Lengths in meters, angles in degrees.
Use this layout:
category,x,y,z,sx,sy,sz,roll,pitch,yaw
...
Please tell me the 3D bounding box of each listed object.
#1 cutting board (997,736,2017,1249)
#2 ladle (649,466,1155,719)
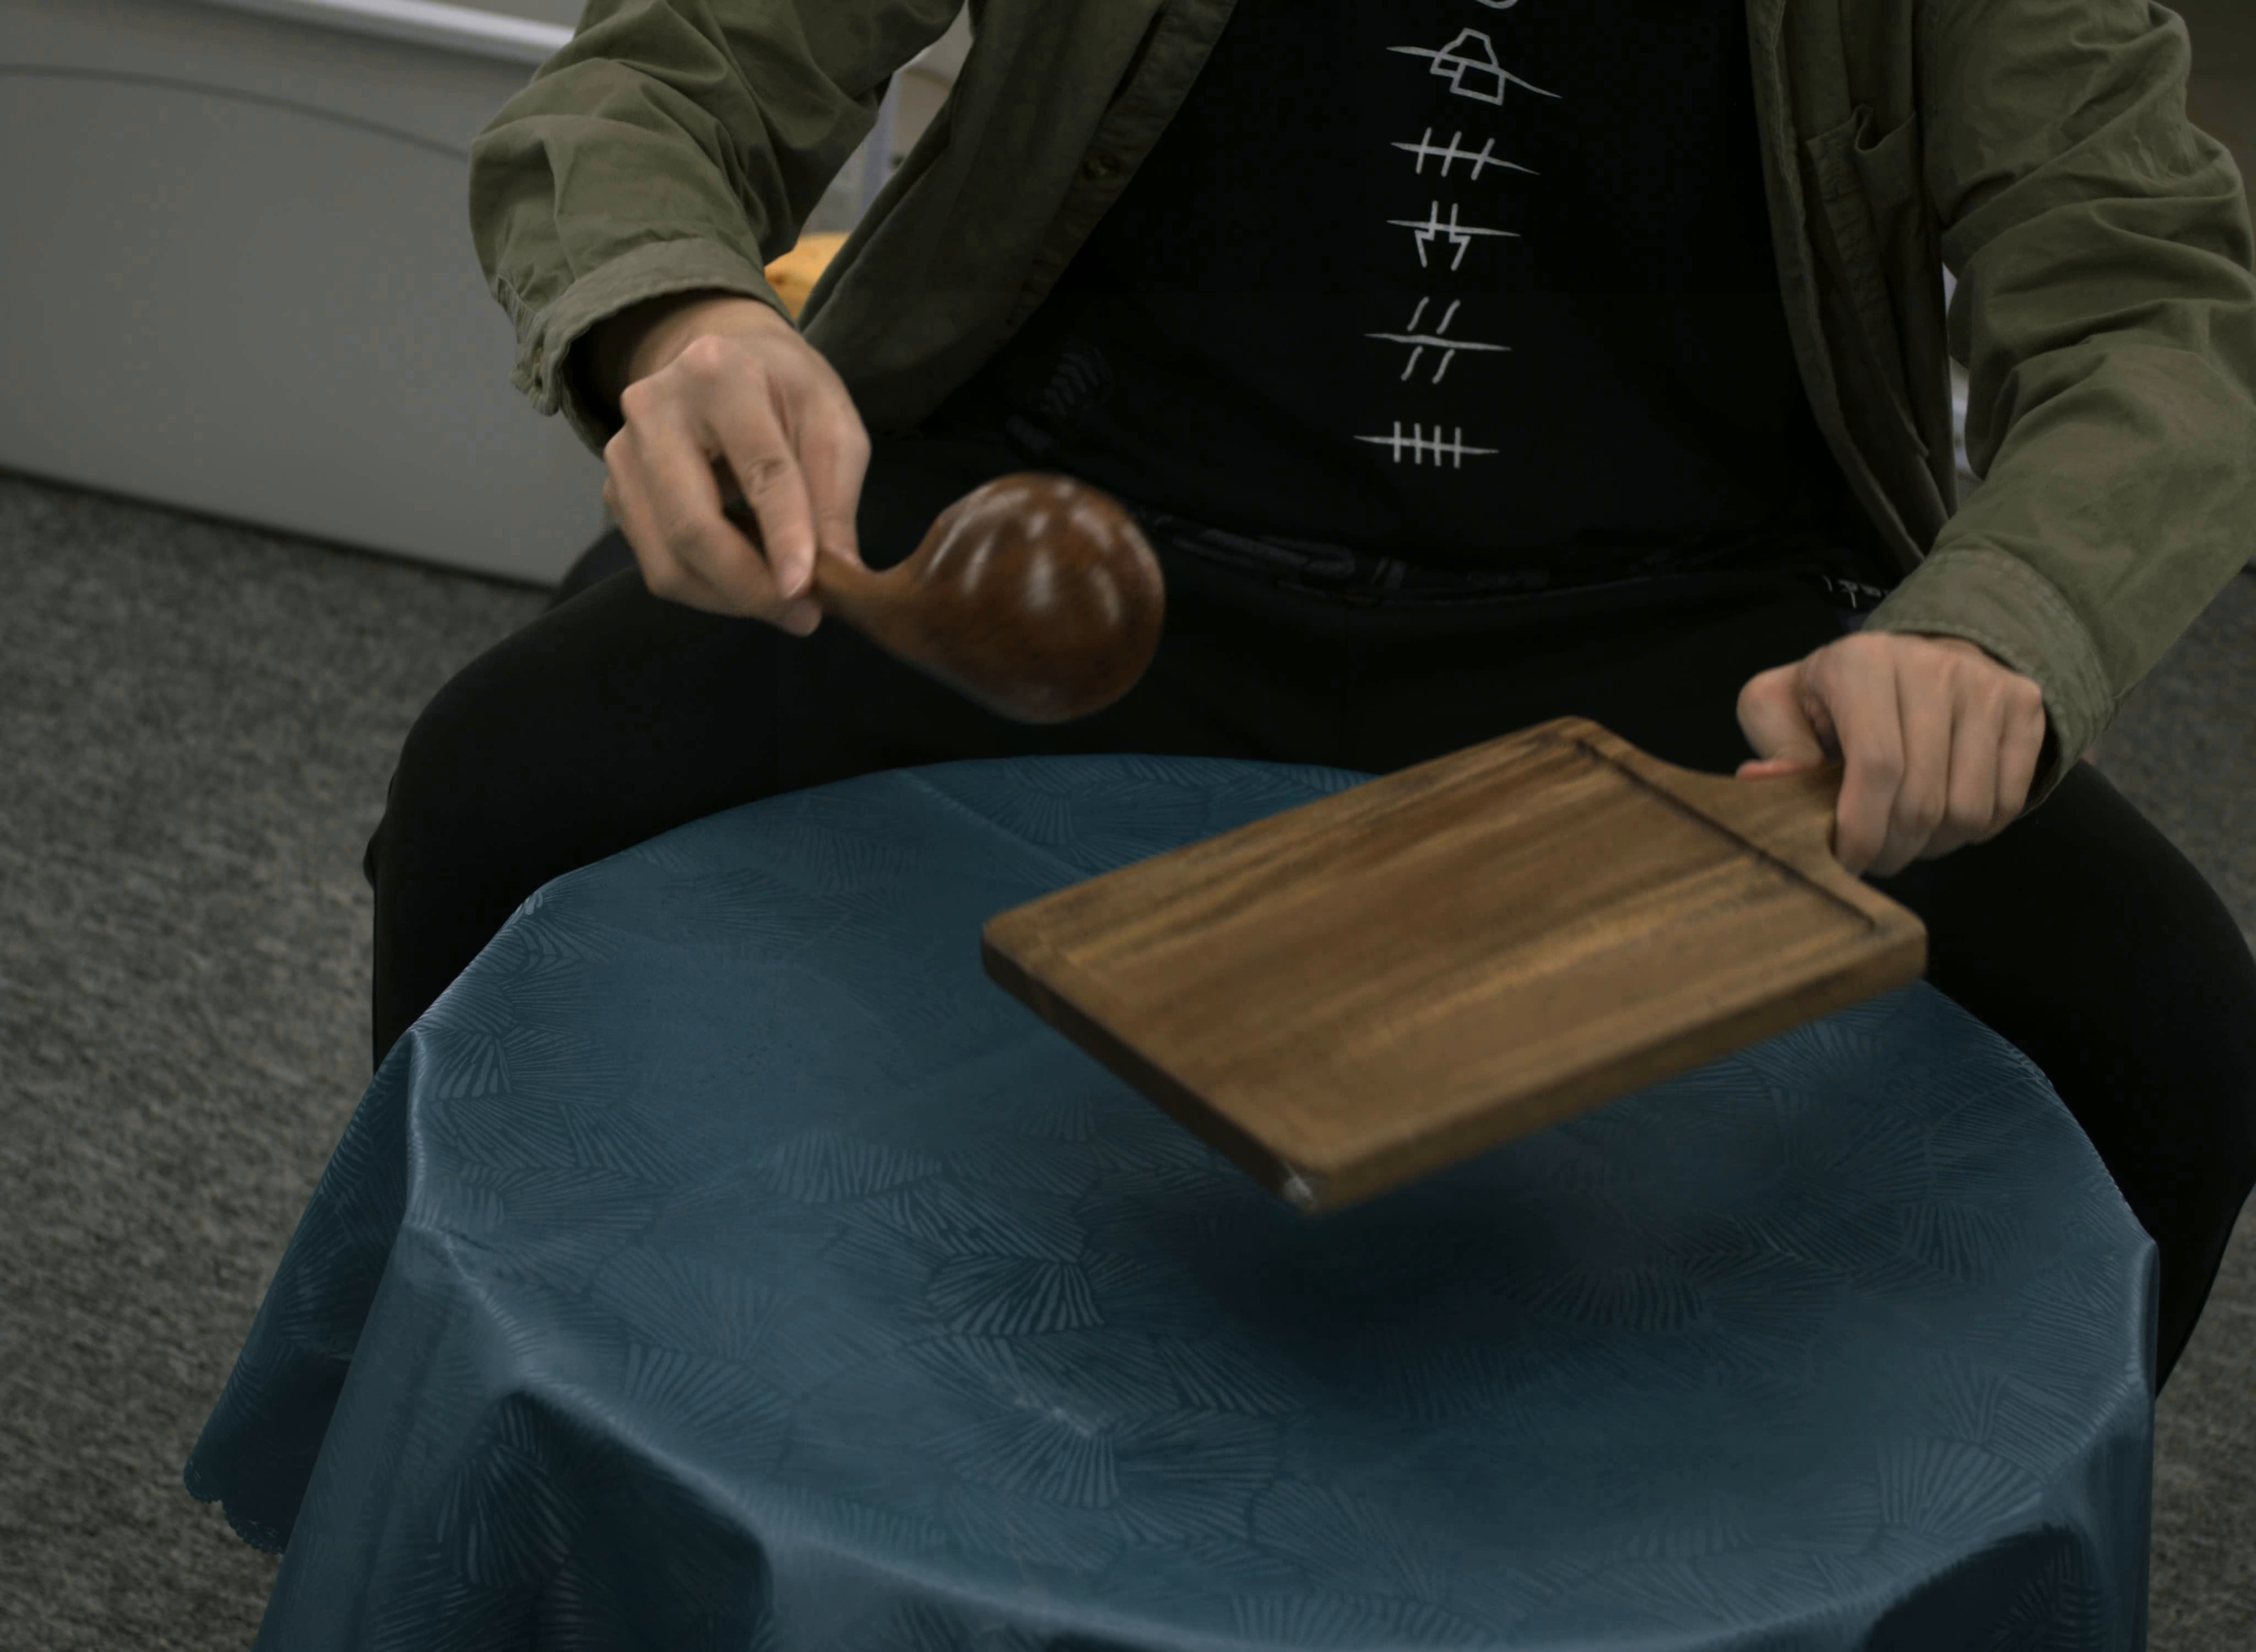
category,x,y,z,sx,sy,sz,roll,pitch,yaw
cutting board,0.153,0.034,1.748,0.350,0.023,0.203,-19,32,-26
ladle,-0.078,-0.090,1.771,0.076,0.082,0.276,-16,16,-22
